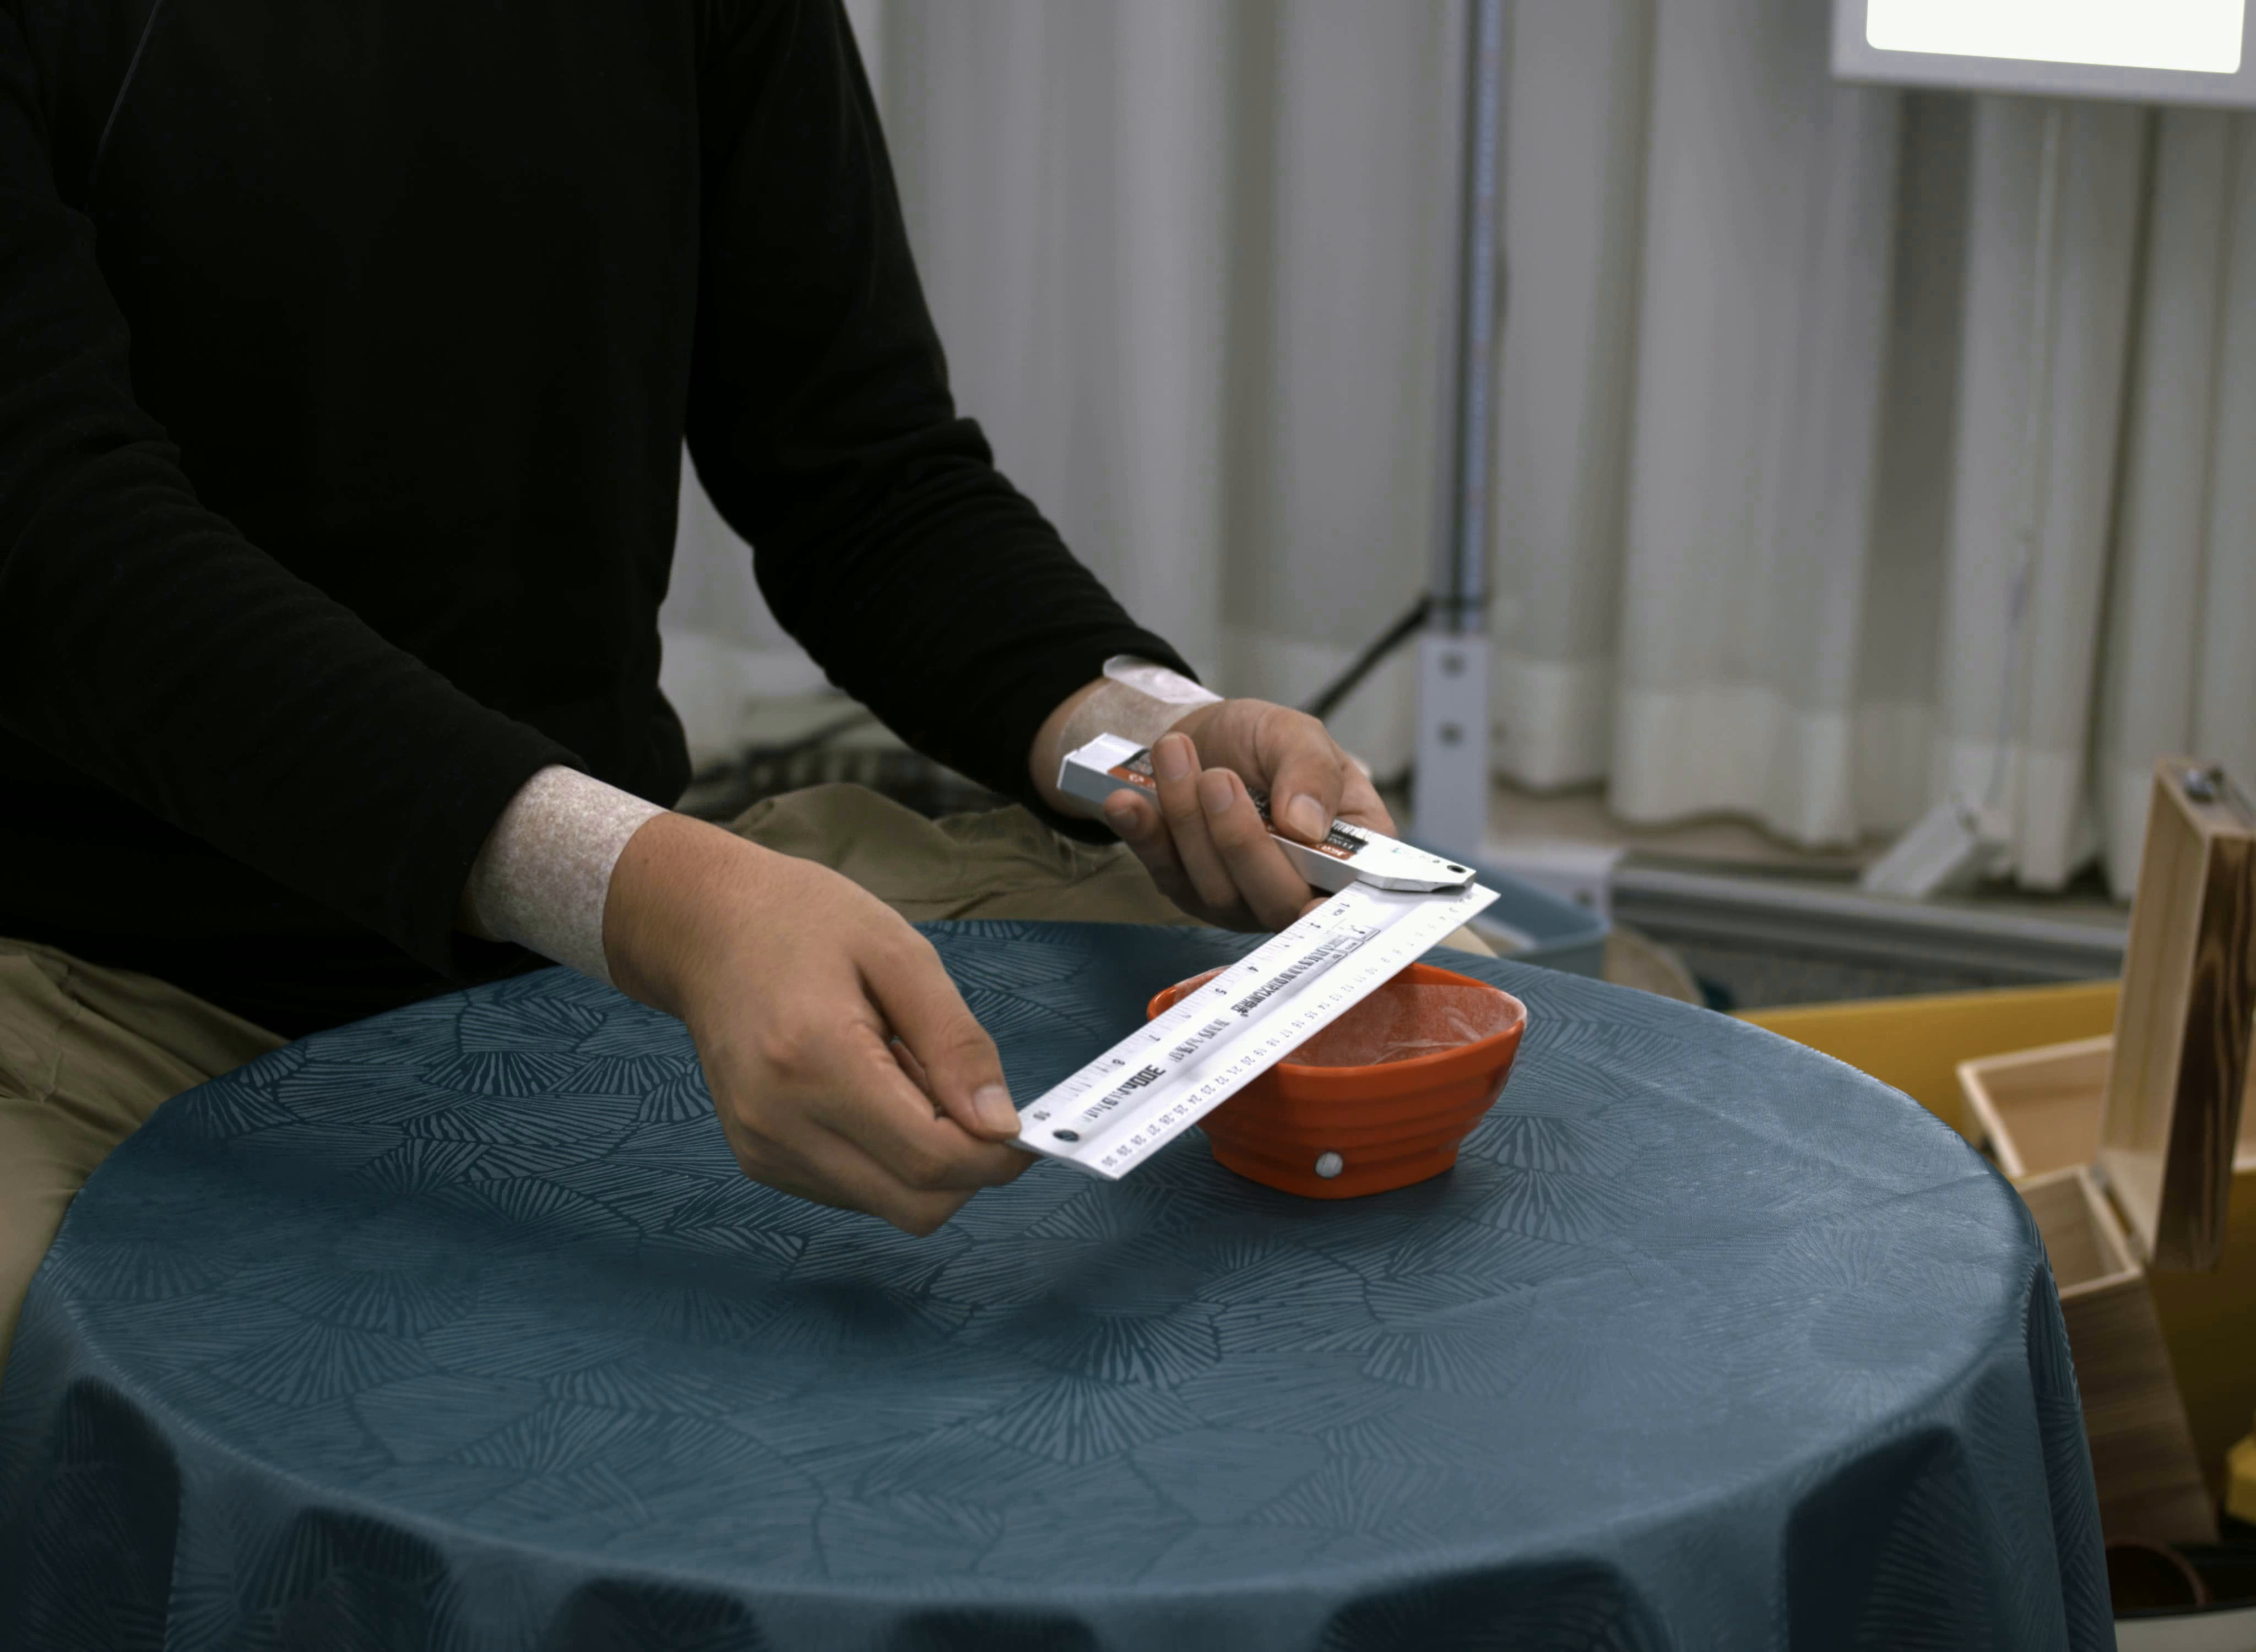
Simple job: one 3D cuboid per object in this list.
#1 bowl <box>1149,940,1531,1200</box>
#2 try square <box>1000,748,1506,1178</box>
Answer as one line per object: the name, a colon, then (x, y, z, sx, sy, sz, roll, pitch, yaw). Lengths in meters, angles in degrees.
bowl: (0.065, 0.078, 1.642, 0.118, 0.052, 0.118, 1, 19, 0)
try square: (-0.004, 0.038, 1.642, 0.151, 0.016, 0.313, 19, 21, 19)
